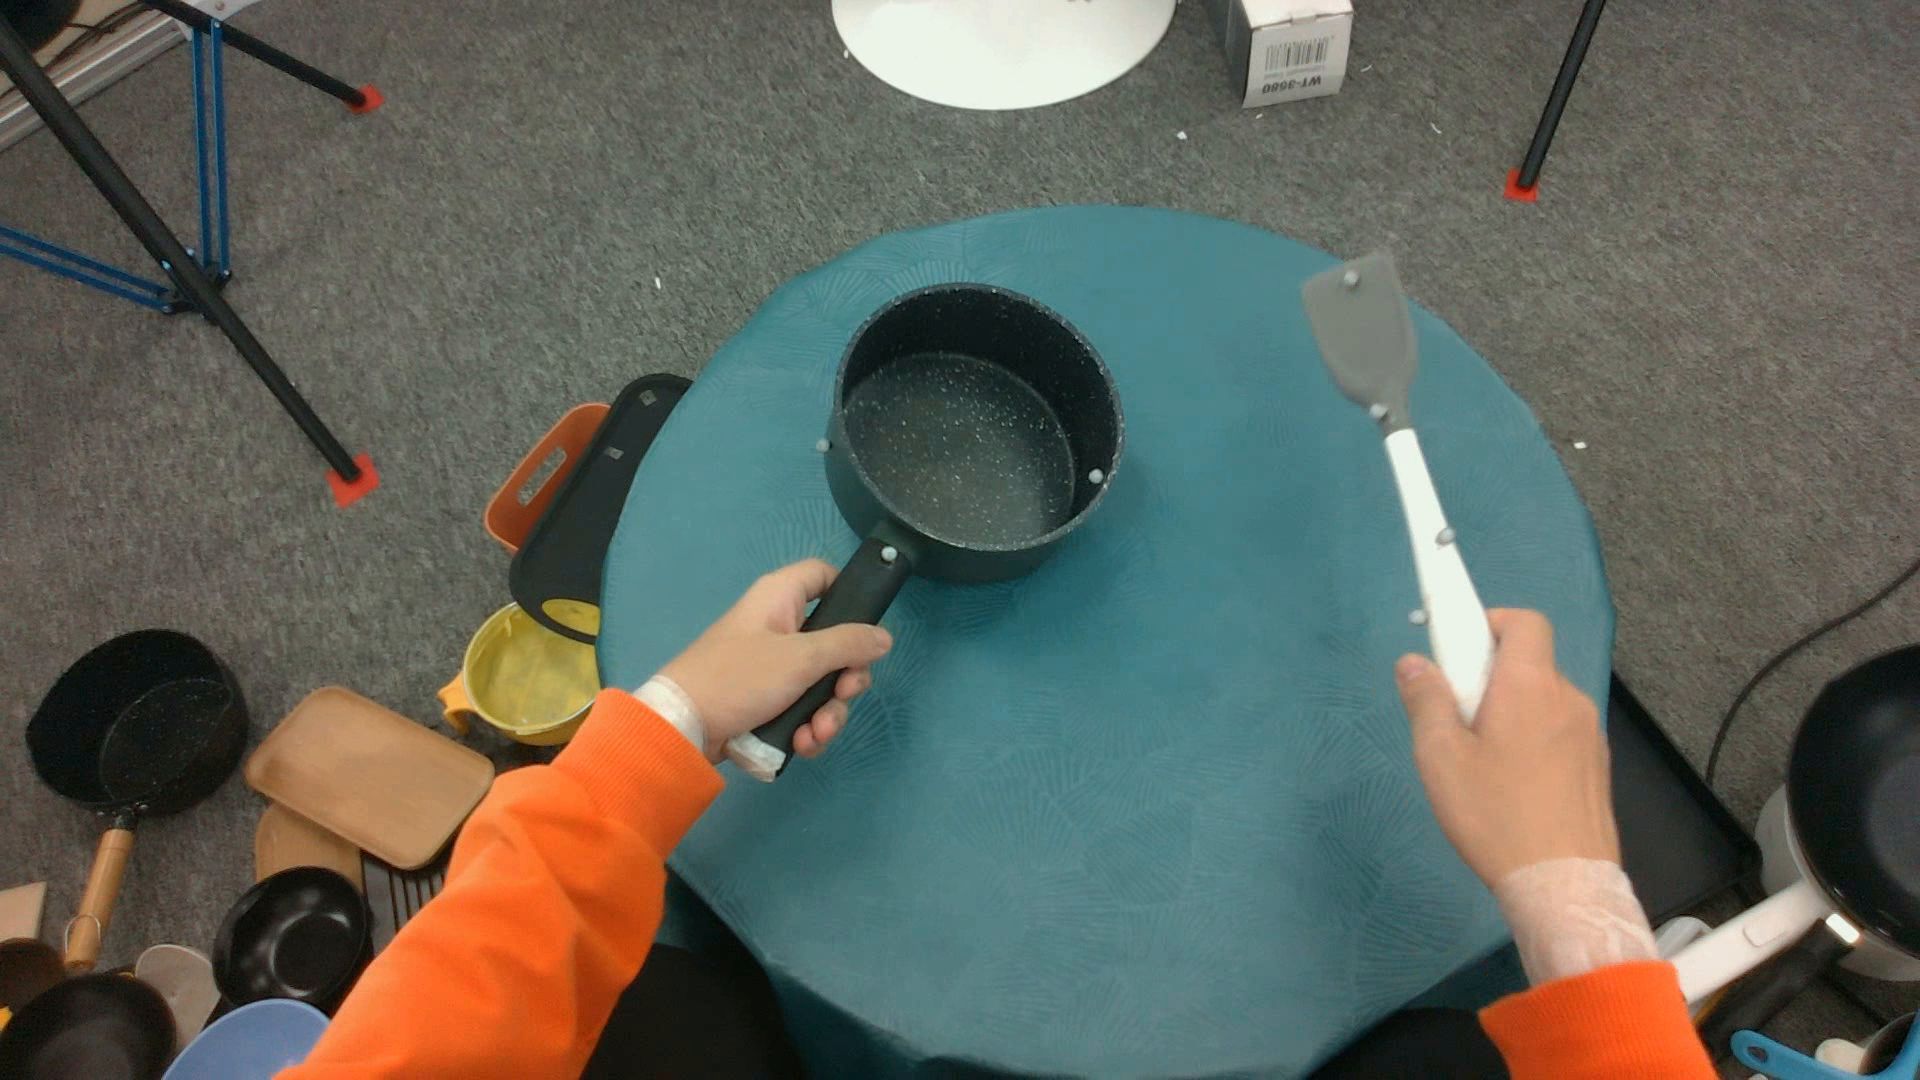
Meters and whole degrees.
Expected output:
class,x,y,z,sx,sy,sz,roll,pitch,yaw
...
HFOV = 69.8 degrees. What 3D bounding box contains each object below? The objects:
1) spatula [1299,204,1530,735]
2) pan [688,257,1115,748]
class,x,y,z,sx,sy,sz,roll,pitch,yaw
spatula,0.229,-0.044,0.694,0.058,0.032,0.288,-23,60,30
pan,-0.042,-0.014,0.767,0.172,0.086,0.330,36,62,-2
